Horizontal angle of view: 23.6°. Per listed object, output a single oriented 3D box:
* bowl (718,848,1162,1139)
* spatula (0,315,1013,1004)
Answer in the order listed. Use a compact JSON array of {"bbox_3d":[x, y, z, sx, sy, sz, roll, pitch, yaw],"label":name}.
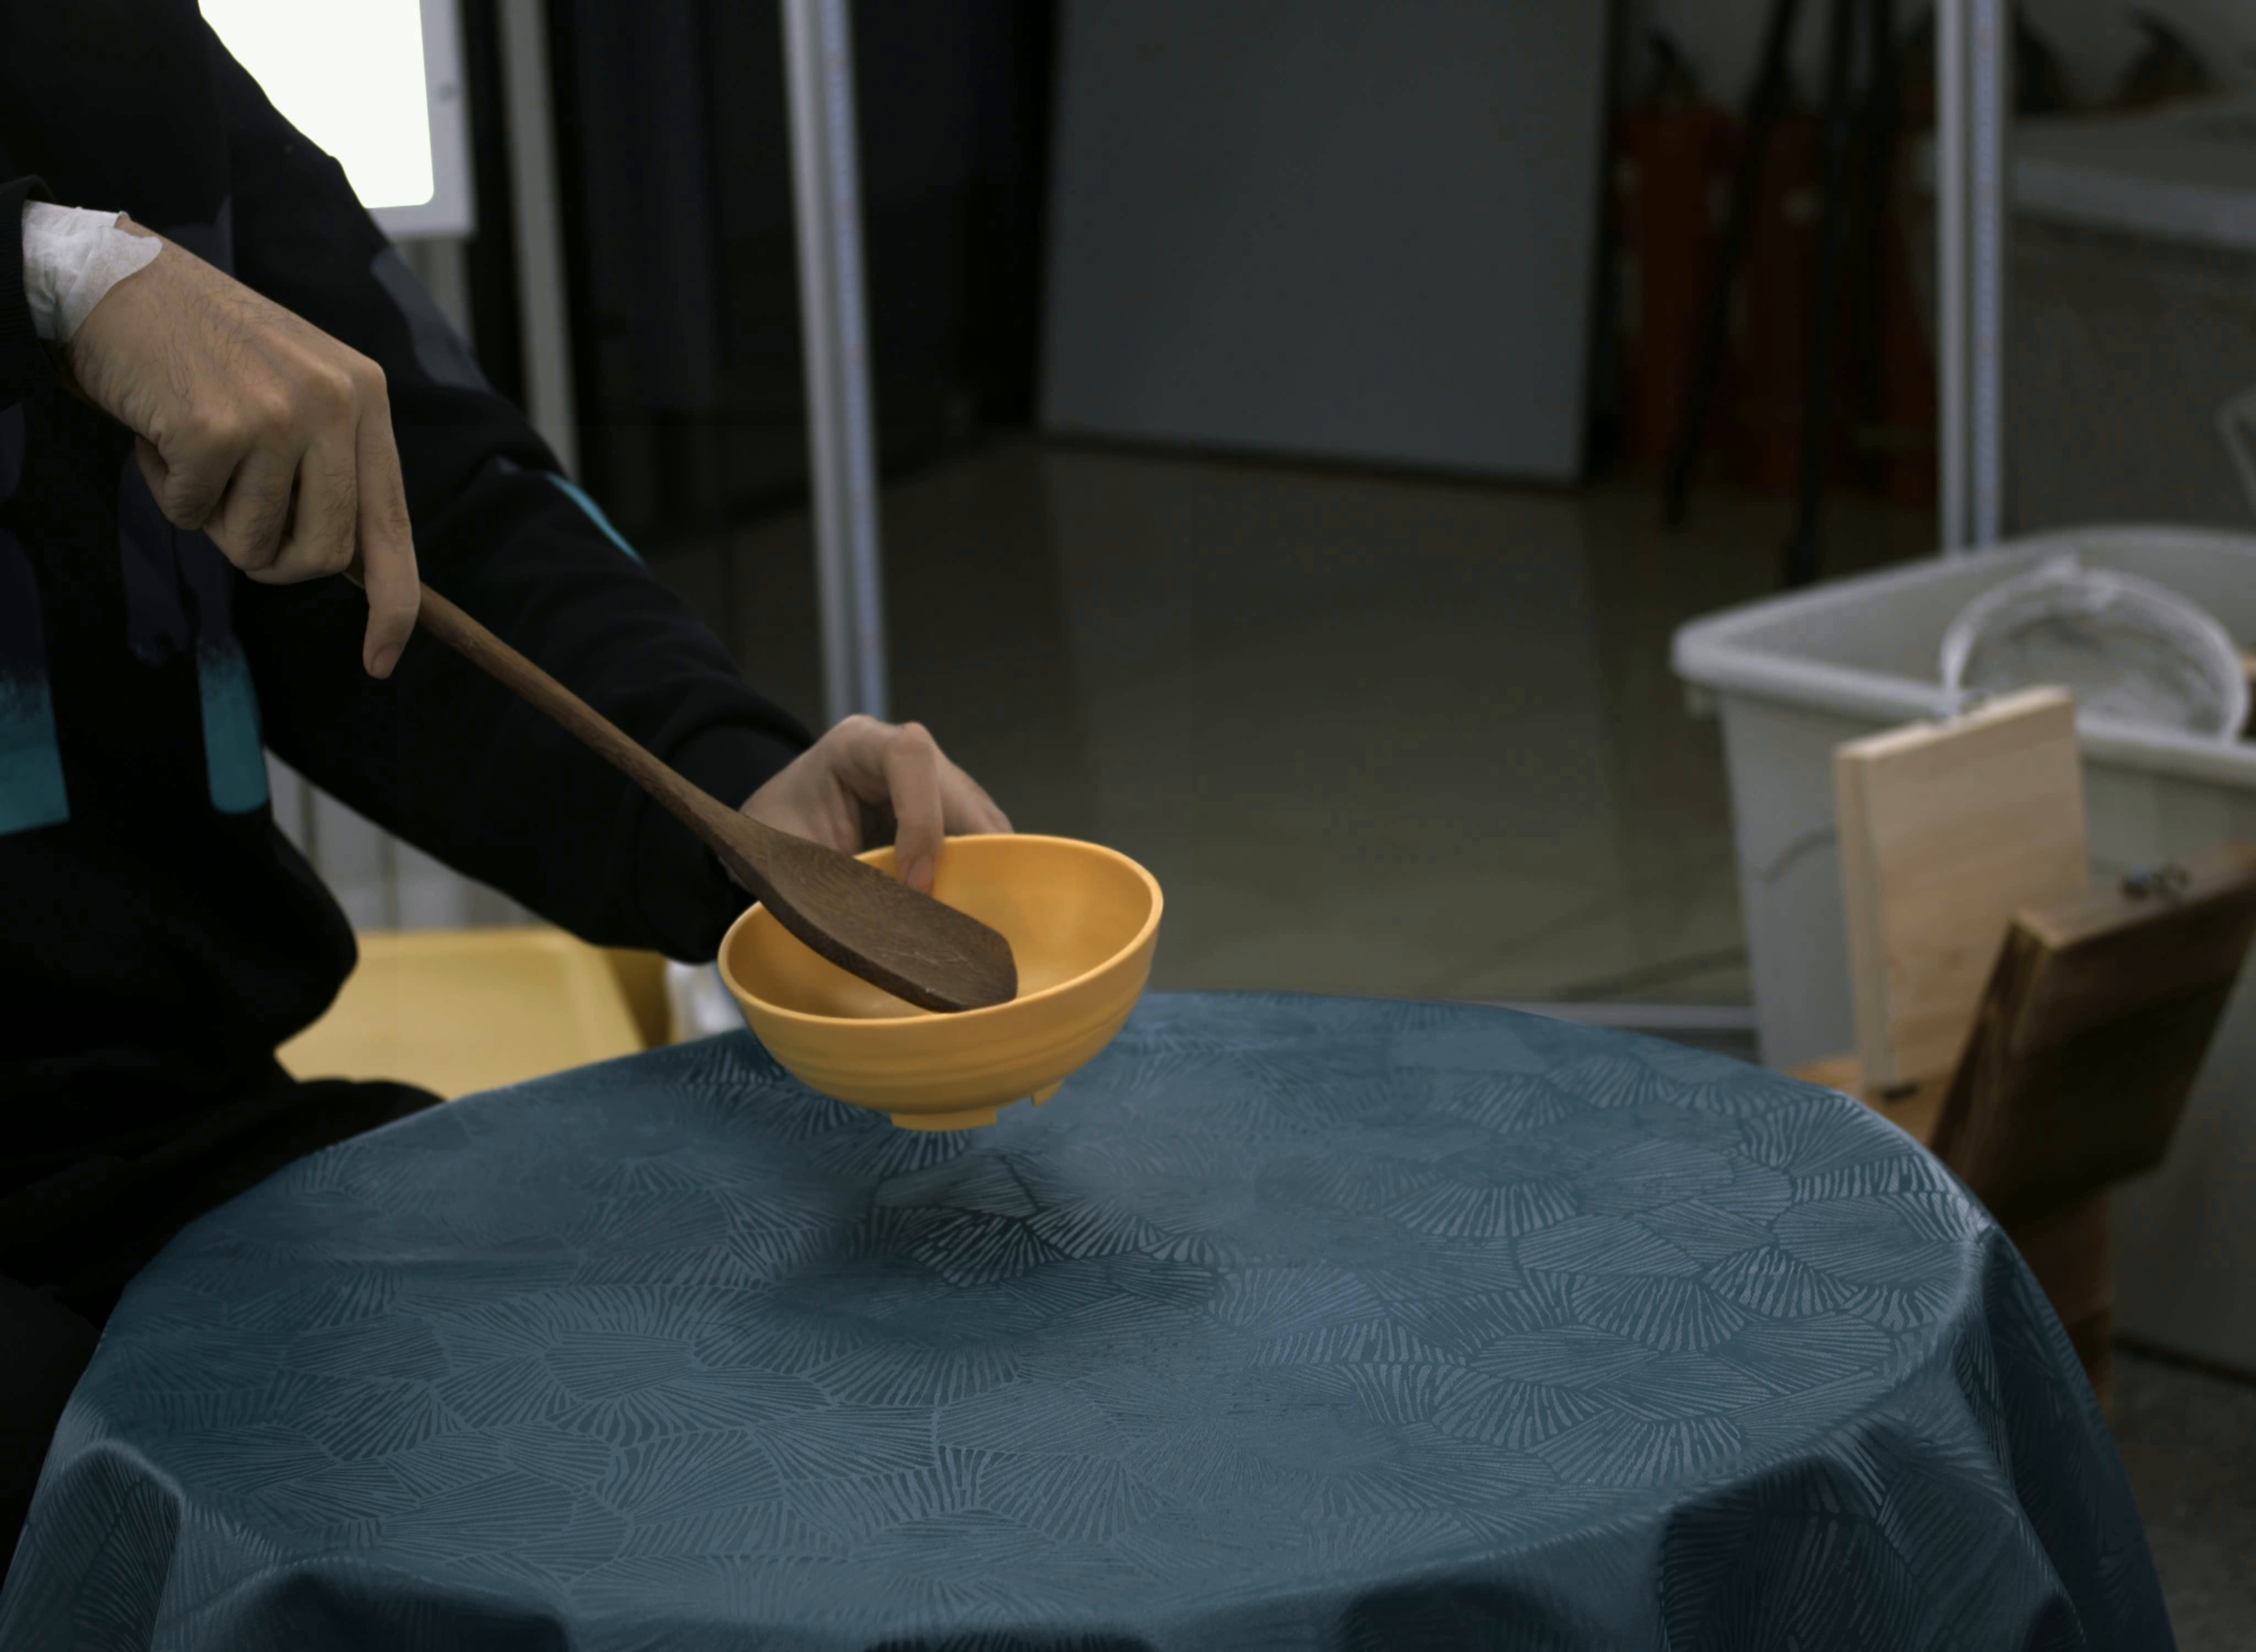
[{"bbox_3d":[-0.057,0.060,1.732,0.143,0.060,0.146,-7,20,2],"label":"bowl"},{"bbox_3d":[-0.196,-0.052,1.715,0.384,0.016,0.096,35,15,0],"label":"spatula"}]
